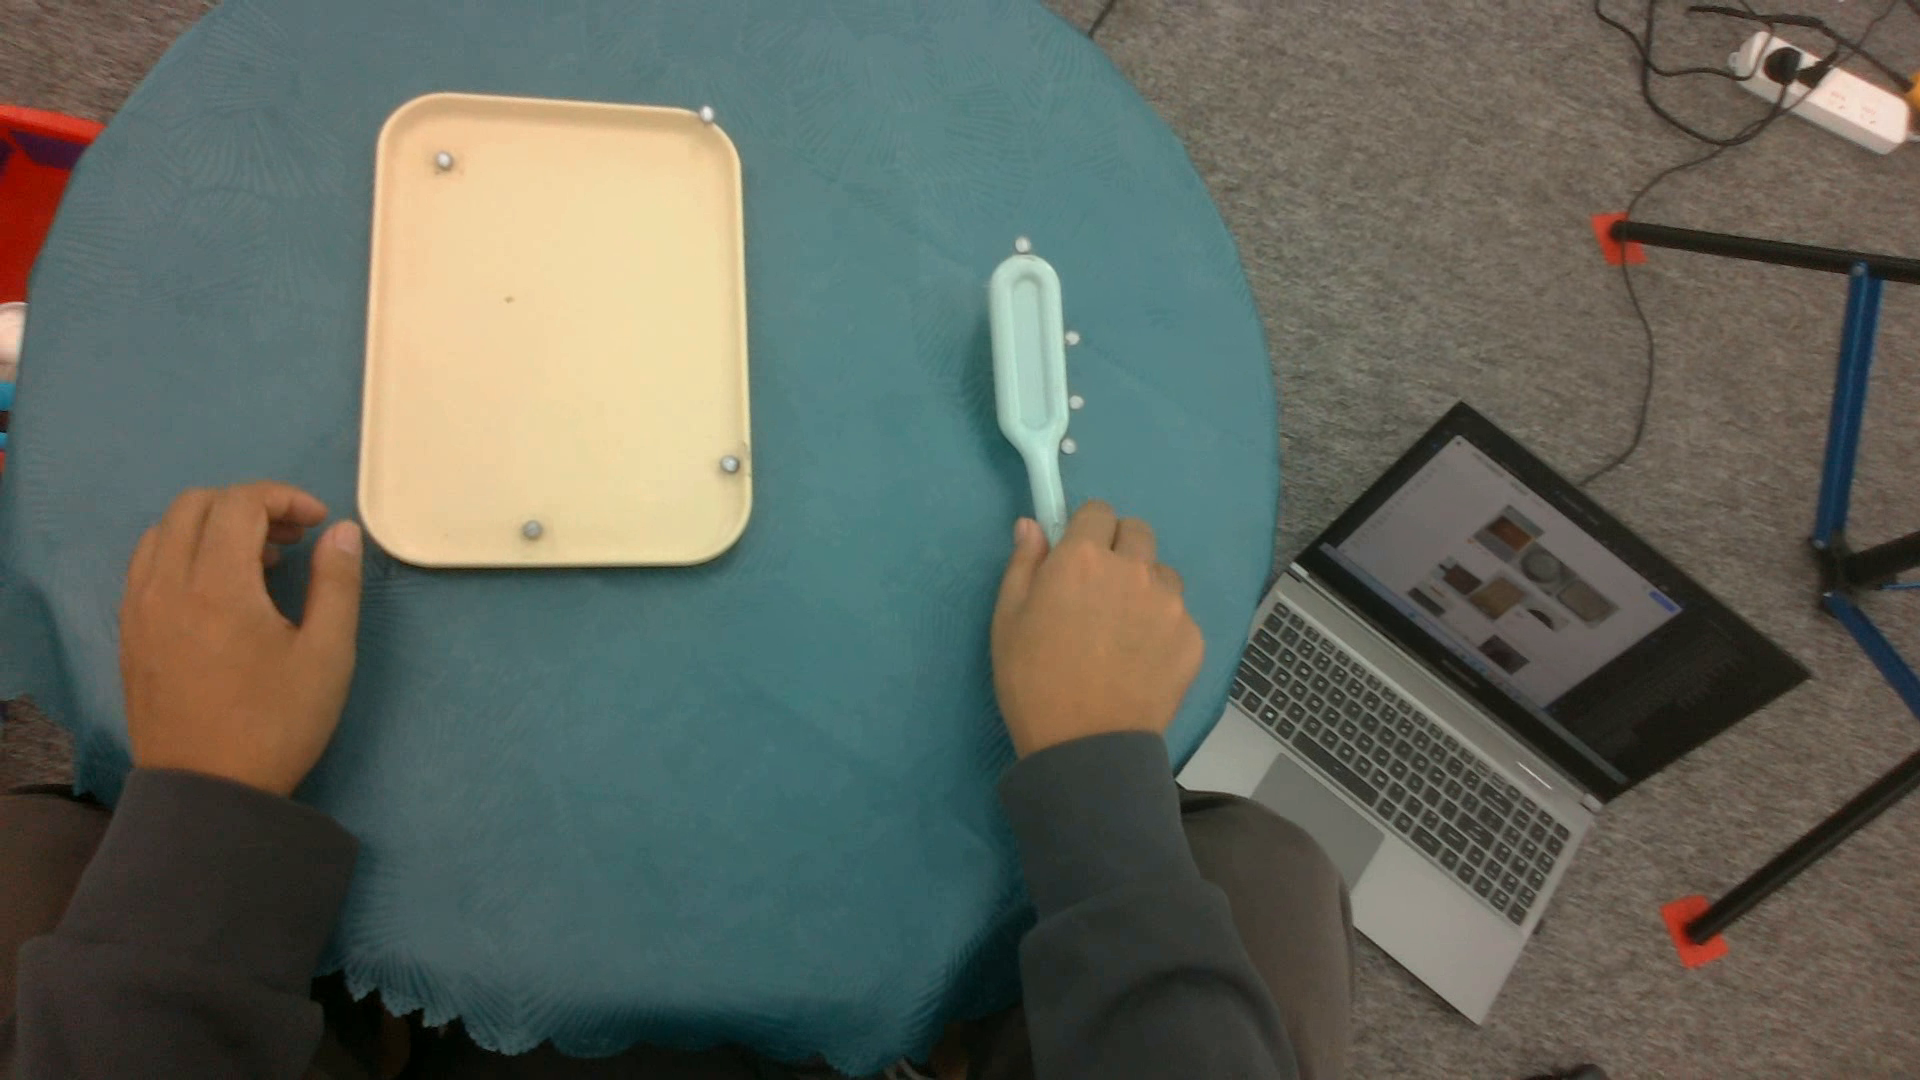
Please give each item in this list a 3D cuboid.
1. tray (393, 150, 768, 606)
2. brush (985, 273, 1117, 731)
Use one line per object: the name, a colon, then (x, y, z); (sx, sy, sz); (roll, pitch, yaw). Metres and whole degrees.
tray: (-0.186, -0.085, 0.676); (0.171, 0.017, 0.240); (-3, 72, -11)
brush: (0.048, -0.019, 0.689); (0.038, 0.049, 0.229); (-10, 82, -7)
